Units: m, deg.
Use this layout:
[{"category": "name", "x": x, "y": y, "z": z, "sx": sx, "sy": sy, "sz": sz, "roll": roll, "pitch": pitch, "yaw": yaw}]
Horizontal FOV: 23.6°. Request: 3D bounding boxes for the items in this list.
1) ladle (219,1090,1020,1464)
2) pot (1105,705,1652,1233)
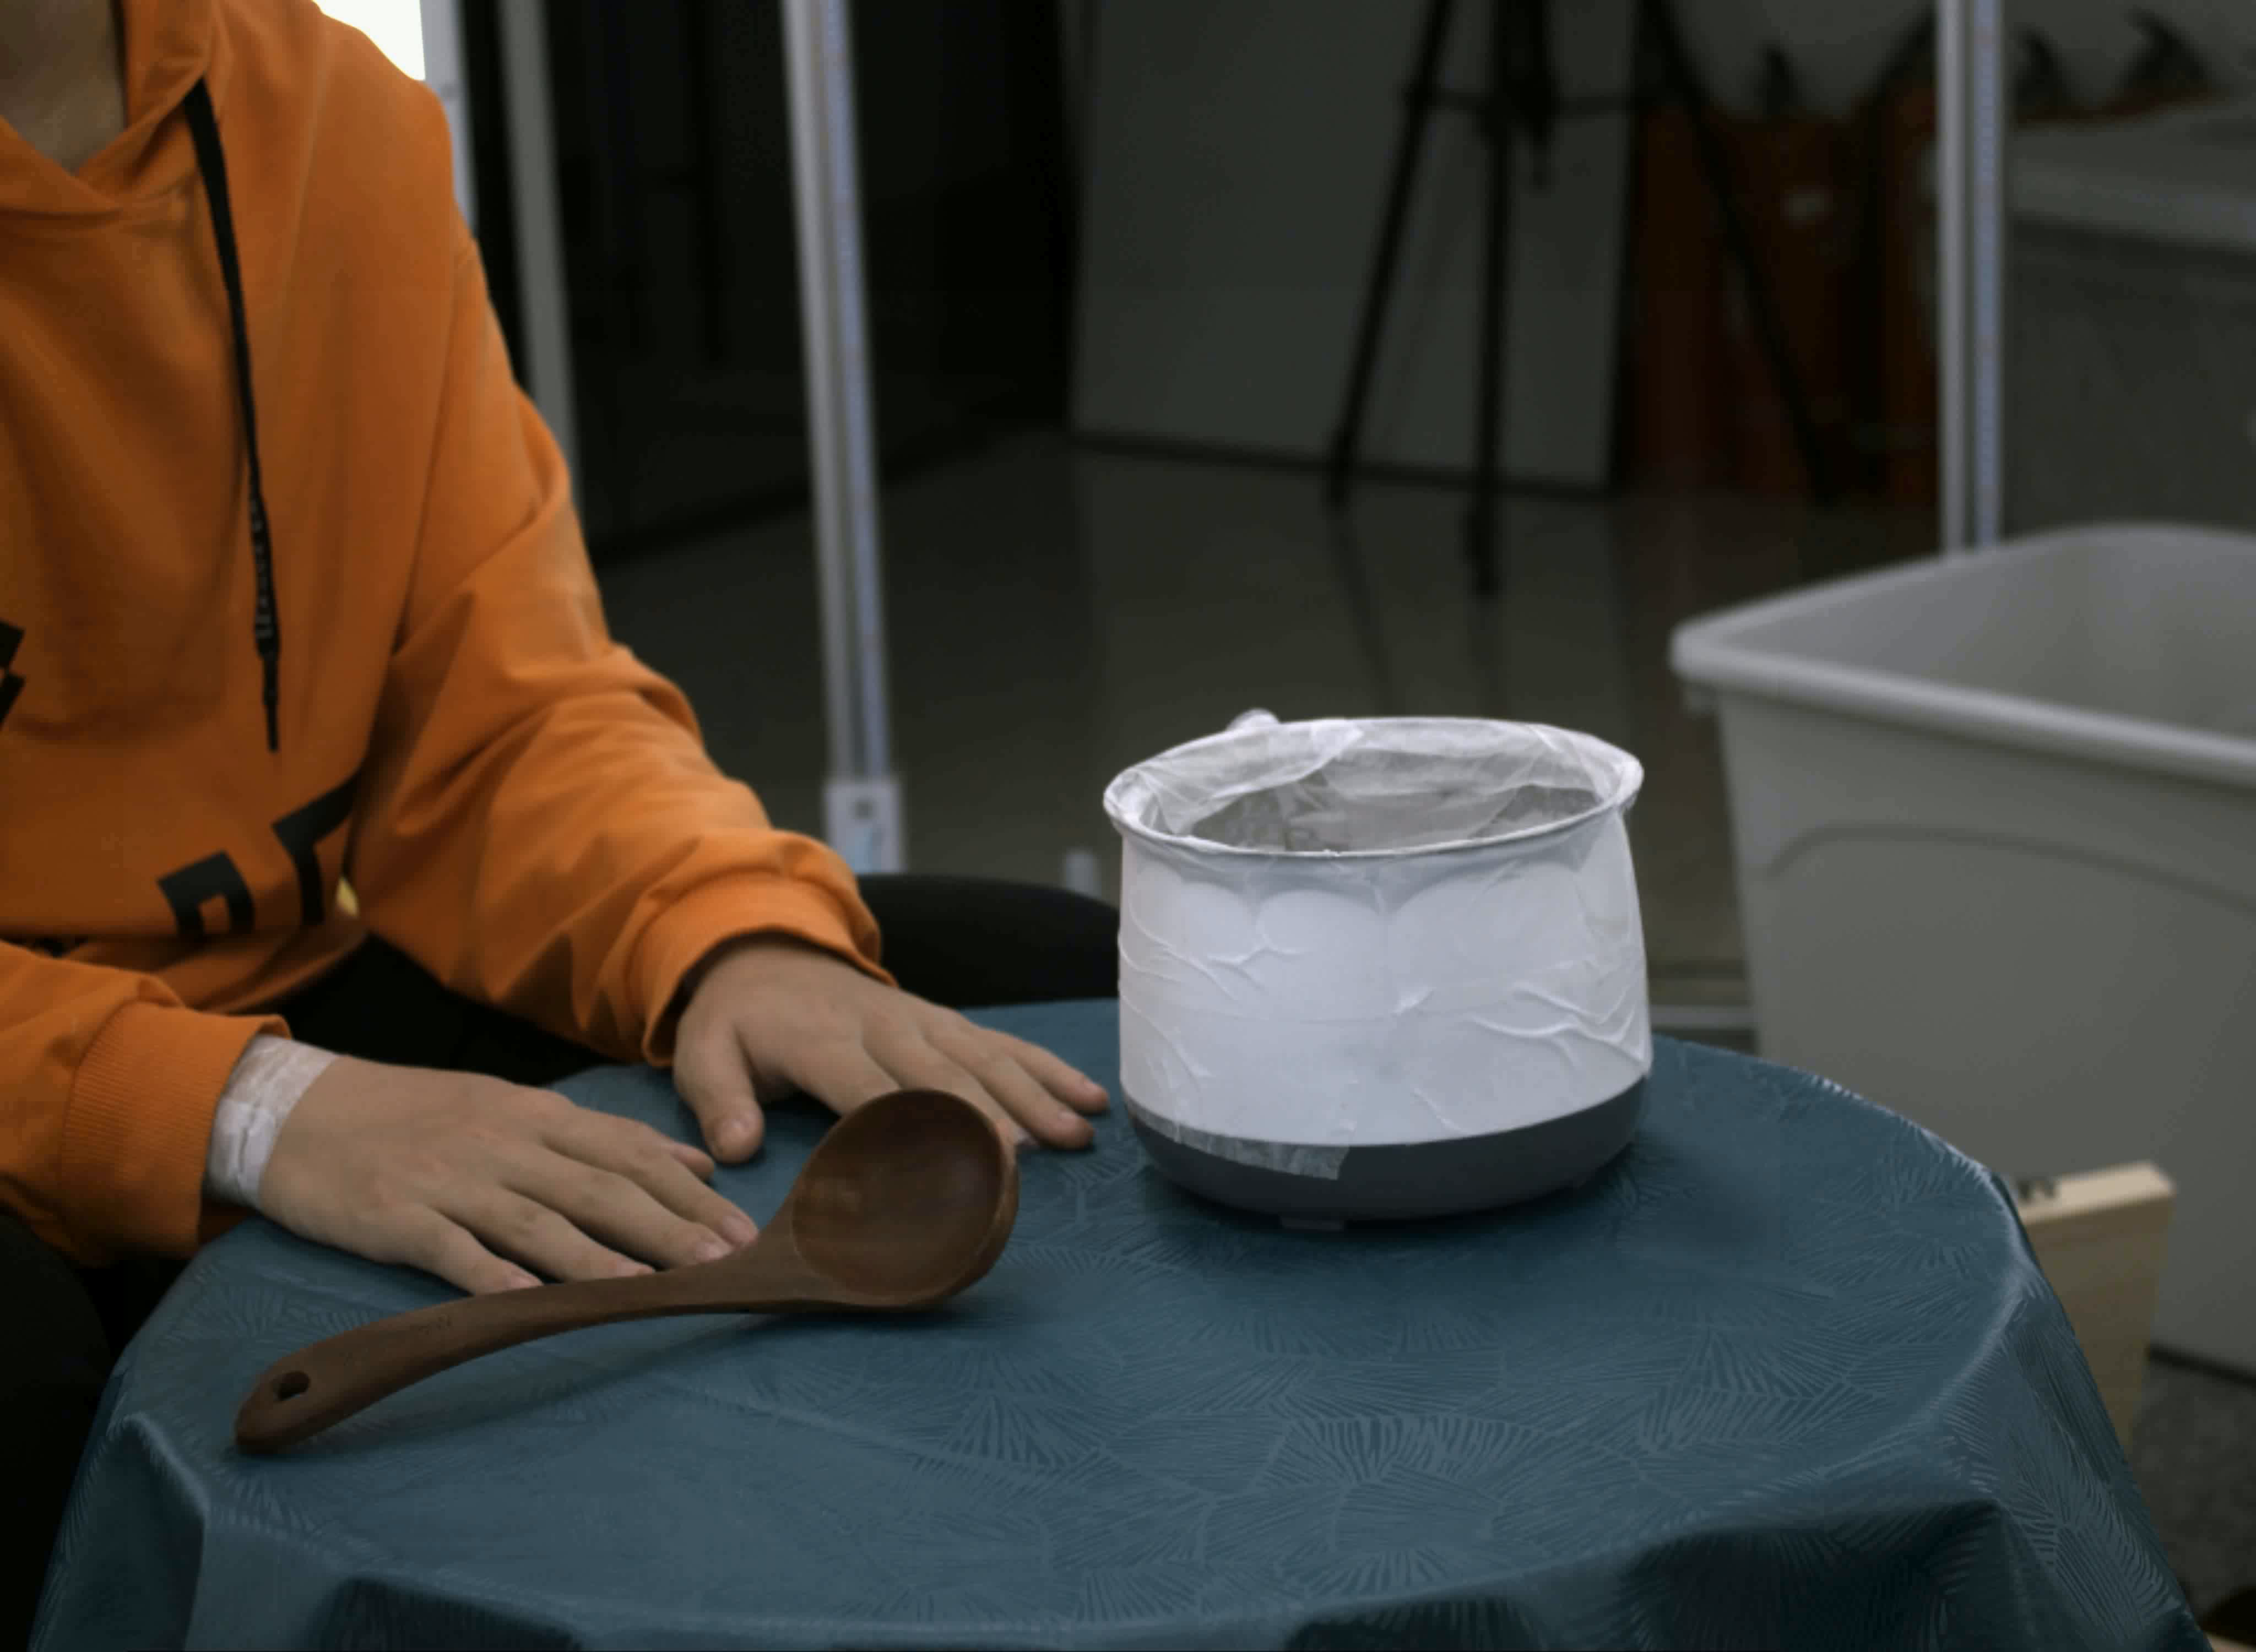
[{"category": "ladle", "x": -0.150, "y": 0.136, "z": 1.628, "sx": 0.254, "sy": 0.066, "sz": 0.077, "roll": -11, "pitch": 41, "yaw": -29}, {"category": "pot", "x": 0.072, "y": 0.041, "z": 1.787, "sx": 0.175, "sy": 0.138, "sz": 0.236, "roll": -9, "pitch": 14, "yaw": -21}]
